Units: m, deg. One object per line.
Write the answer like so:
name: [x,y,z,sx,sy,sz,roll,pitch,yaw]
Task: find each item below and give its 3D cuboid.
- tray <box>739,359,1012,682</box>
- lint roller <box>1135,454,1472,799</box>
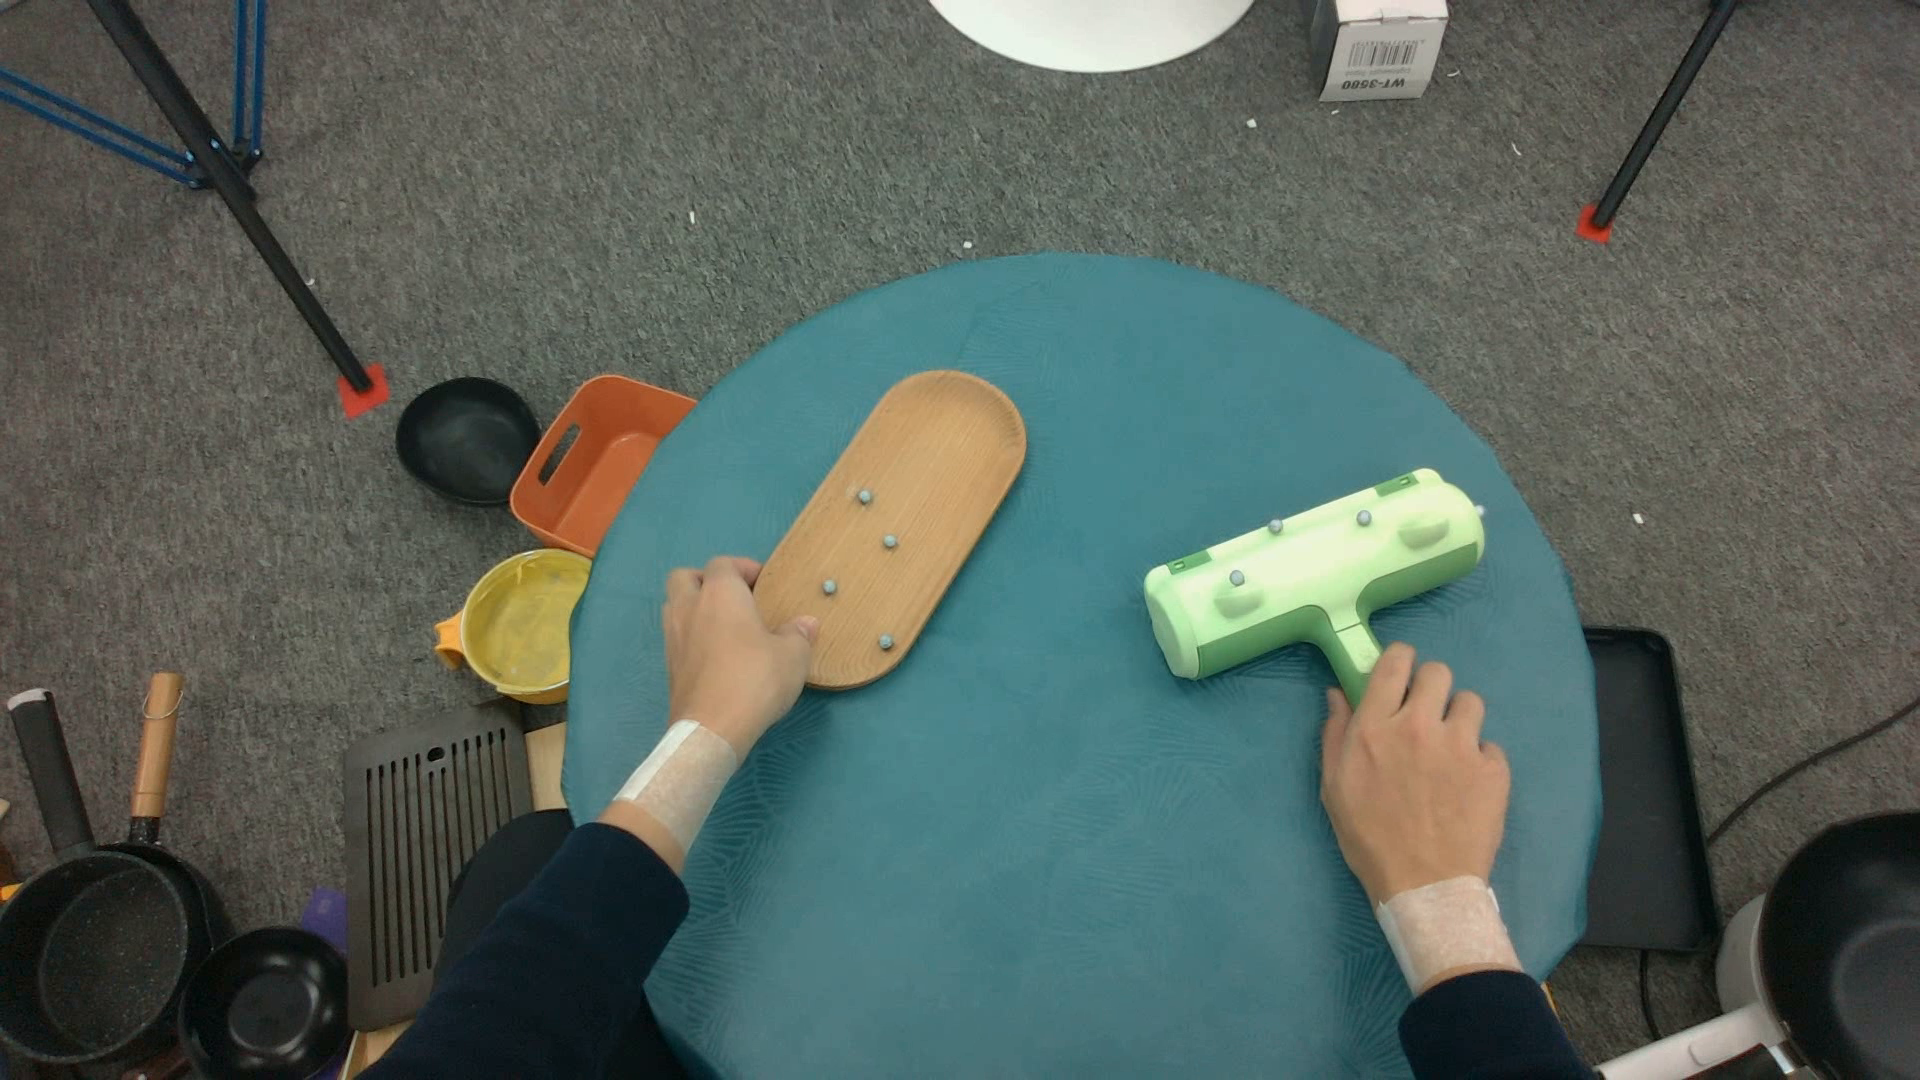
tray: [-0.049,-0.016,0.836,0.101,0.020,0.232,27,64,7]
lint roller: [0.223,0.053,0.766,0.199,0.082,0.184,-22,59,-11]
